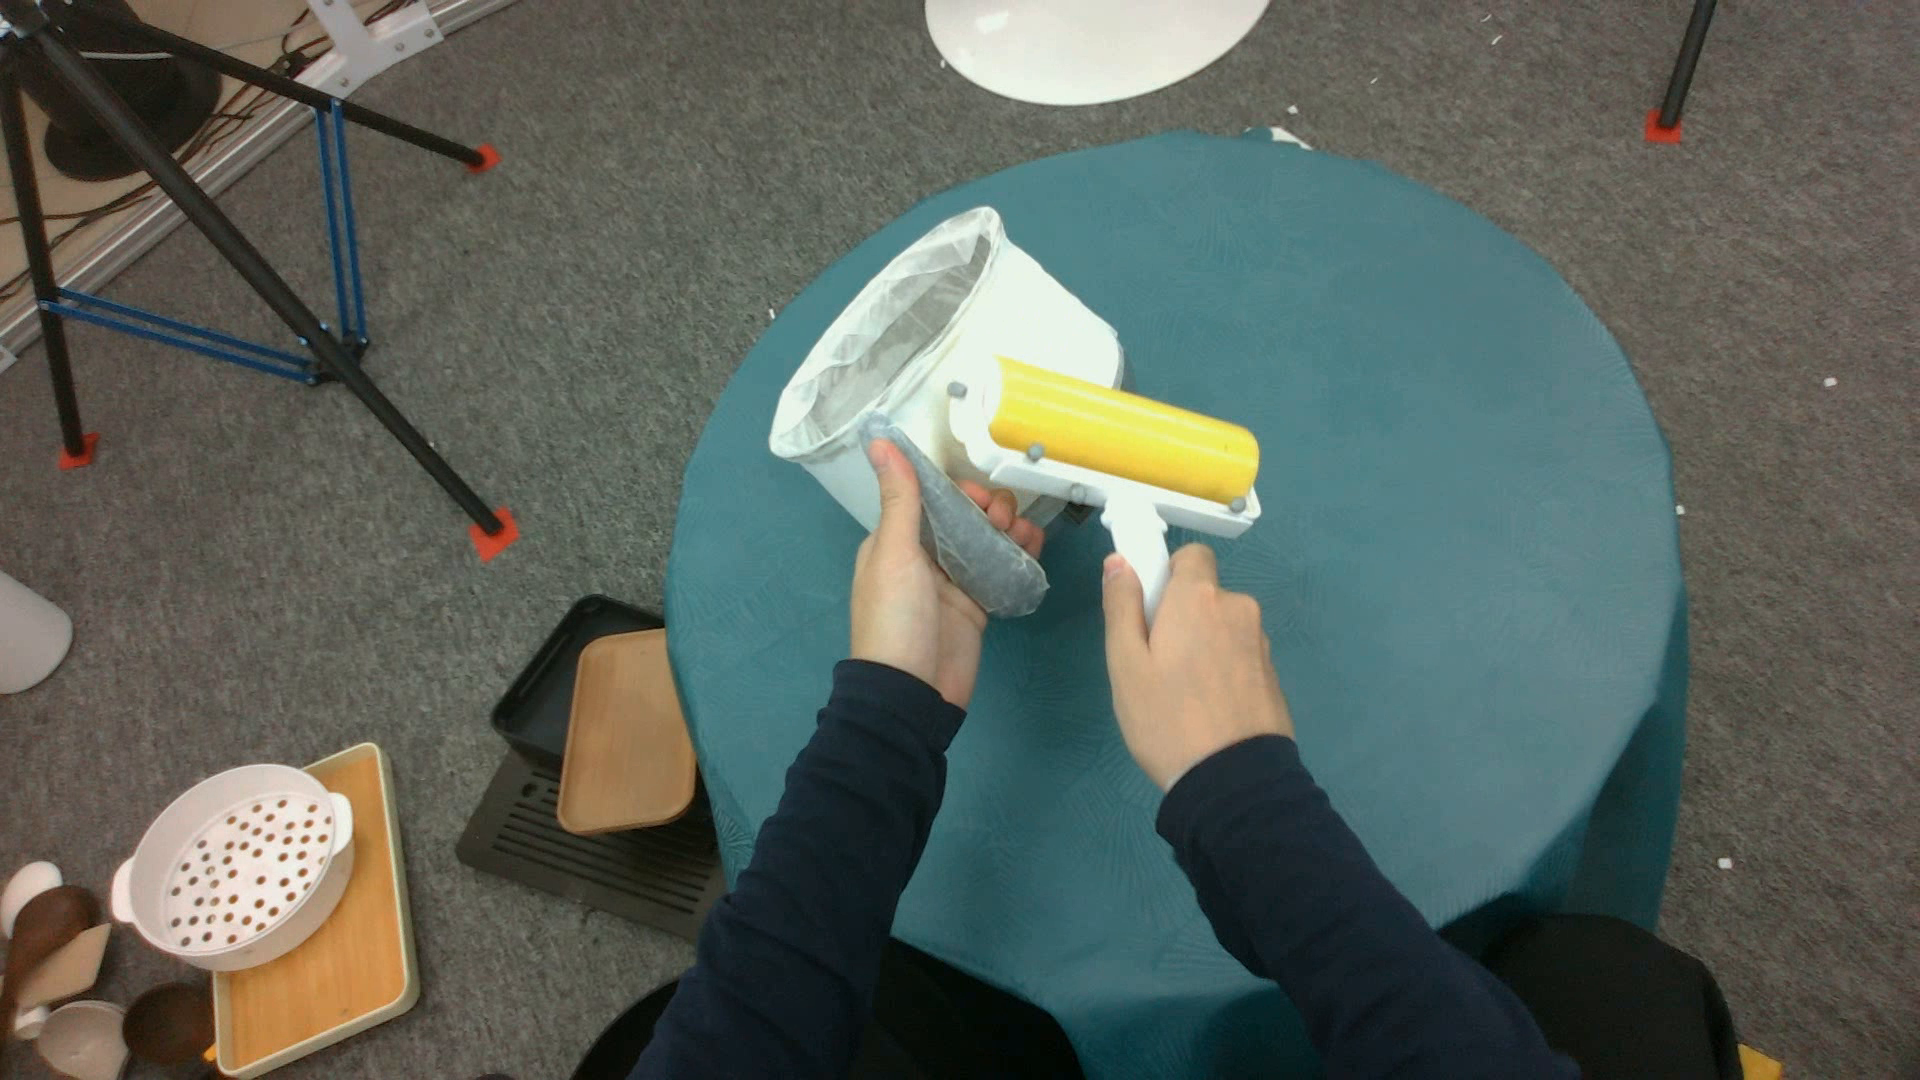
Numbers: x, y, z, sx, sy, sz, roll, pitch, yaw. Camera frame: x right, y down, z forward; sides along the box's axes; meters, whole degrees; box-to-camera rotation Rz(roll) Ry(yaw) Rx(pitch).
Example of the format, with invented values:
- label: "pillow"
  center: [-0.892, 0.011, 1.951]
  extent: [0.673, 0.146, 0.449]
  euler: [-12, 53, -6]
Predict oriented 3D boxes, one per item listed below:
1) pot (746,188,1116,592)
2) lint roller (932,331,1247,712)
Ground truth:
- label: "pot"
  center: [-0.012, -0.071, 0.747]
  extent: [0.178, 0.136, 0.234]
  euler: [-40, 24, 22]
- label: "lint roller"
  center: [0.086, -0.011, 0.646]
  extent: [0.174, 0.051, 0.192]
  euler: [10, 42, -32]
